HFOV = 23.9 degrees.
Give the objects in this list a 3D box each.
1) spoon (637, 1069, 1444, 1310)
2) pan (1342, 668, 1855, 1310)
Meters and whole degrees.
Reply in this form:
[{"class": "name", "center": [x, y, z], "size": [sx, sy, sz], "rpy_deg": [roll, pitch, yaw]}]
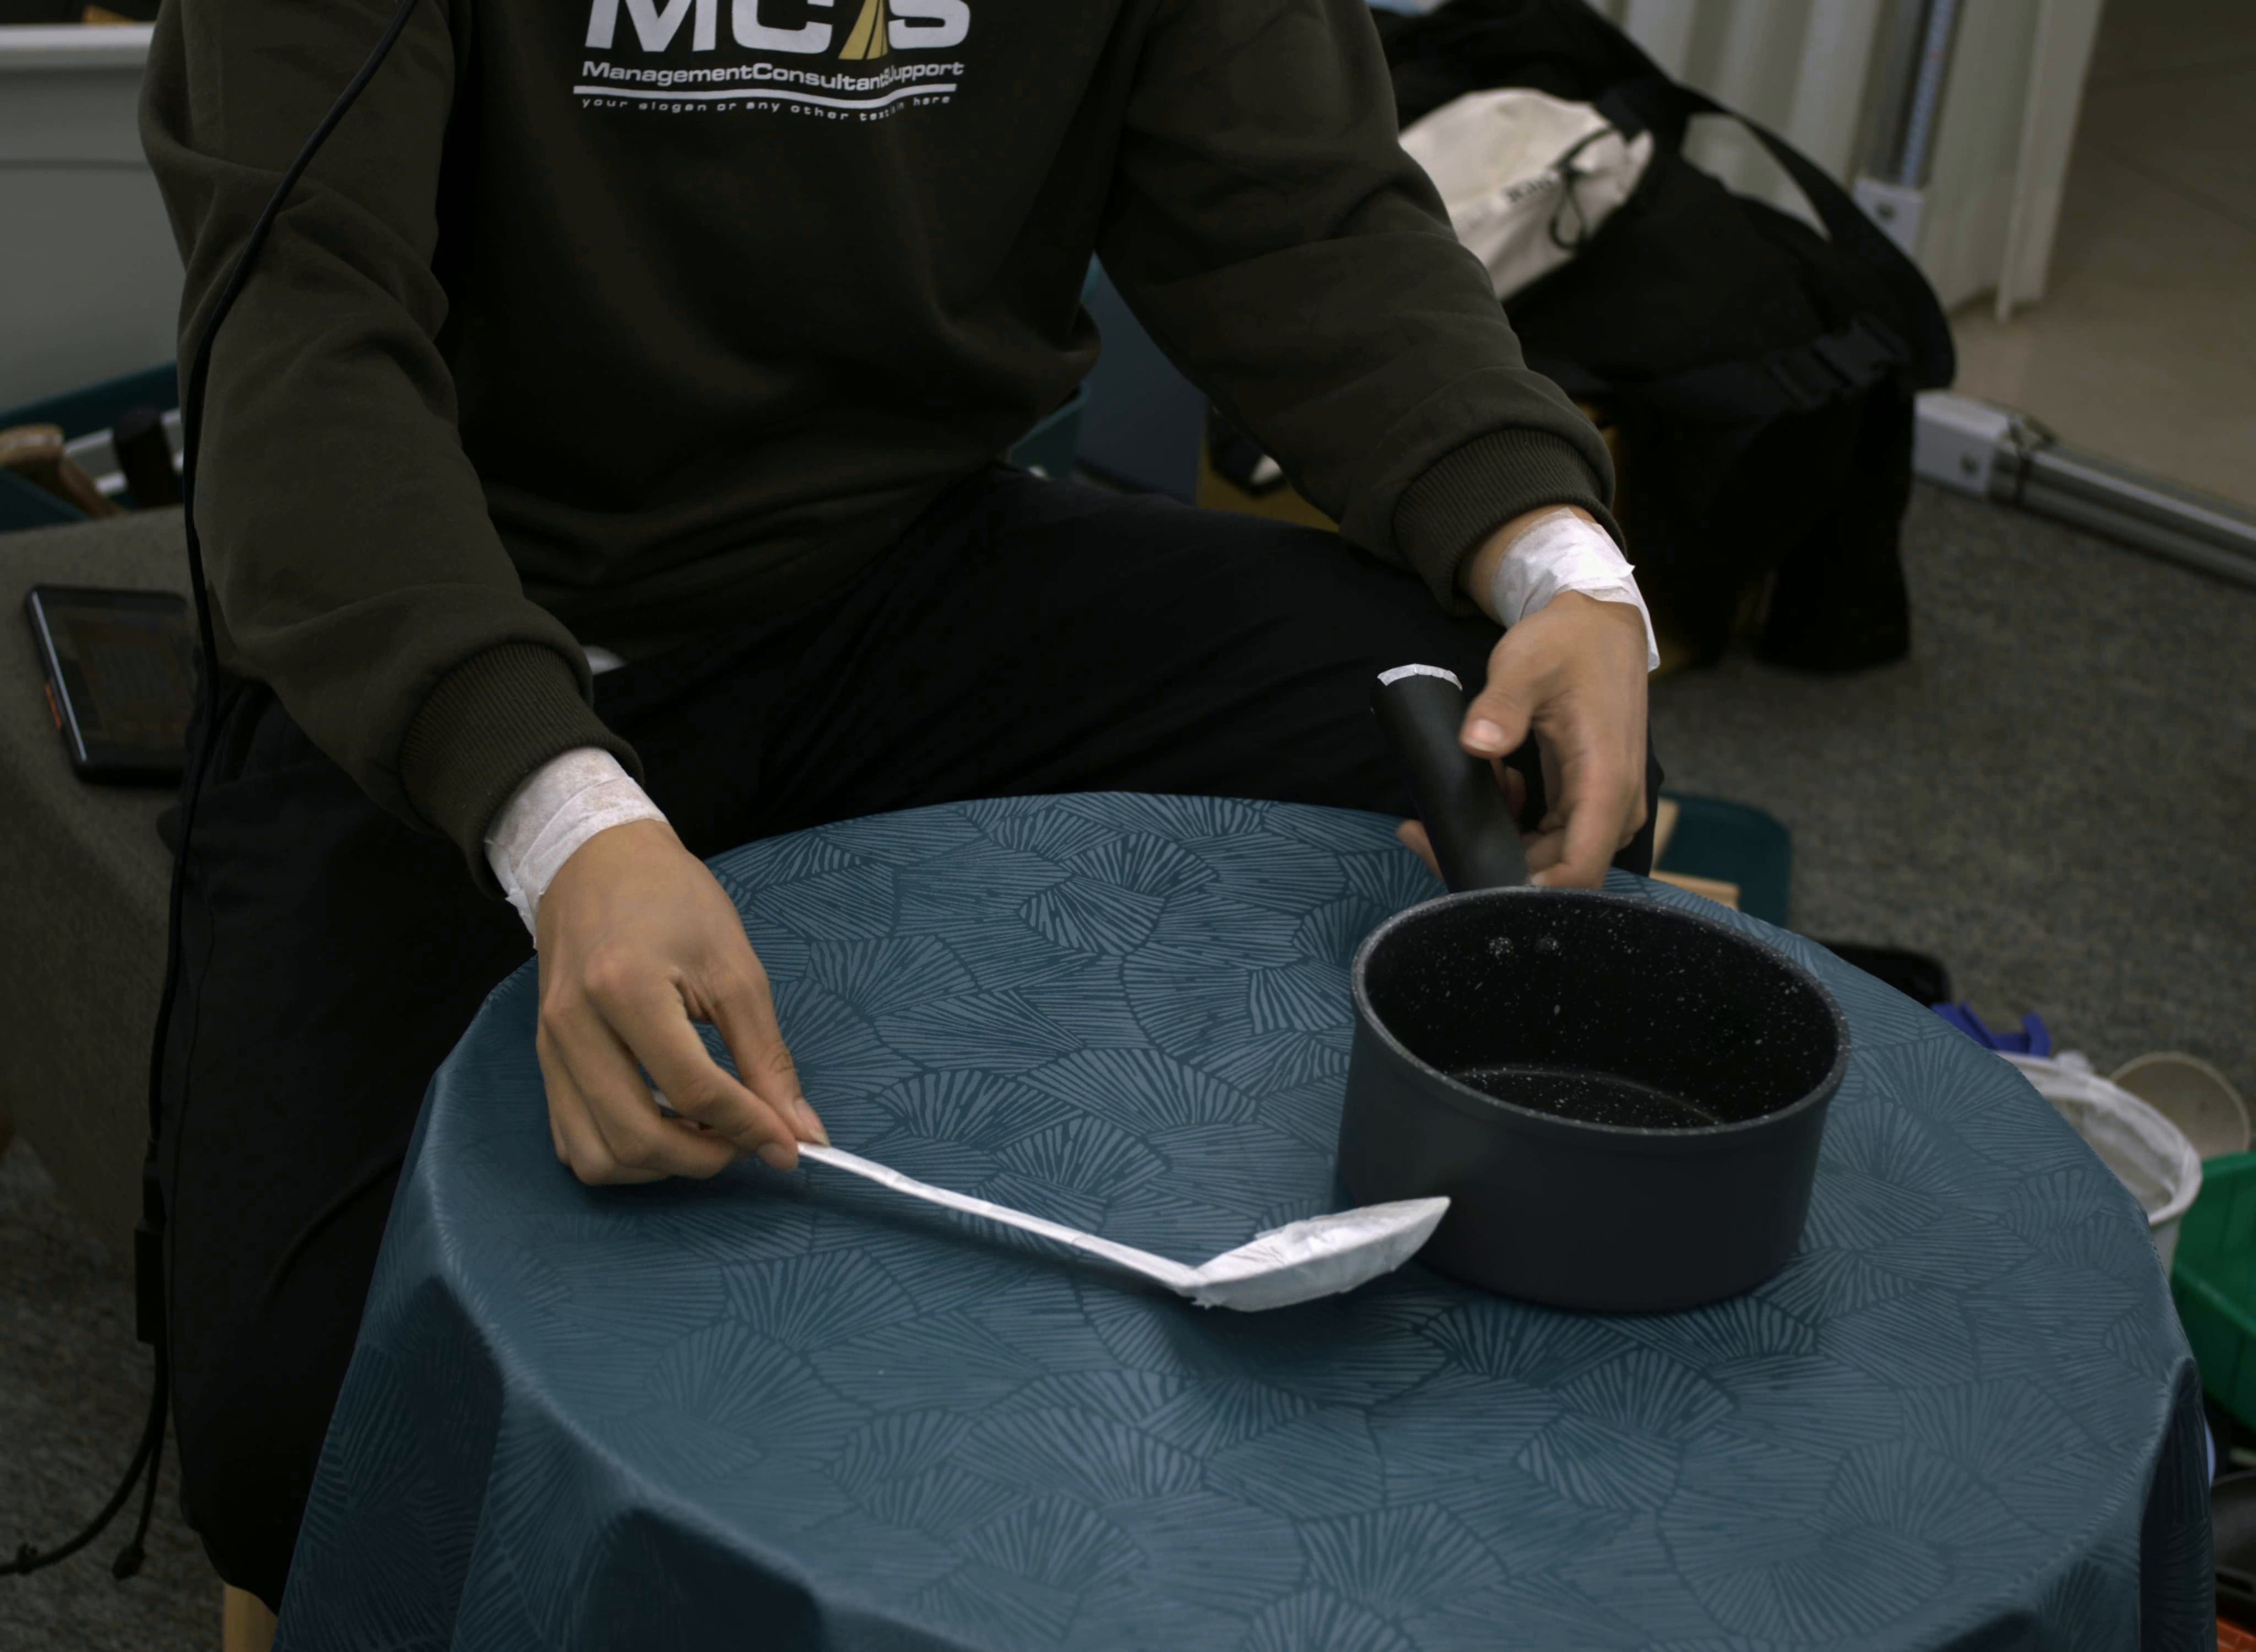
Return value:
[{"class": "spoon", "center": [-0.031, 0.104, 1.763], "size": [0.278, 0.059, 0.100], "rpy_deg": [19, 10, 16]}, {"class": "pan", "center": [0.143, 0.054, 1.884], "size": [0.171, 0.086, 0.331], "rpy_deg": [2, 28, -12]}]
